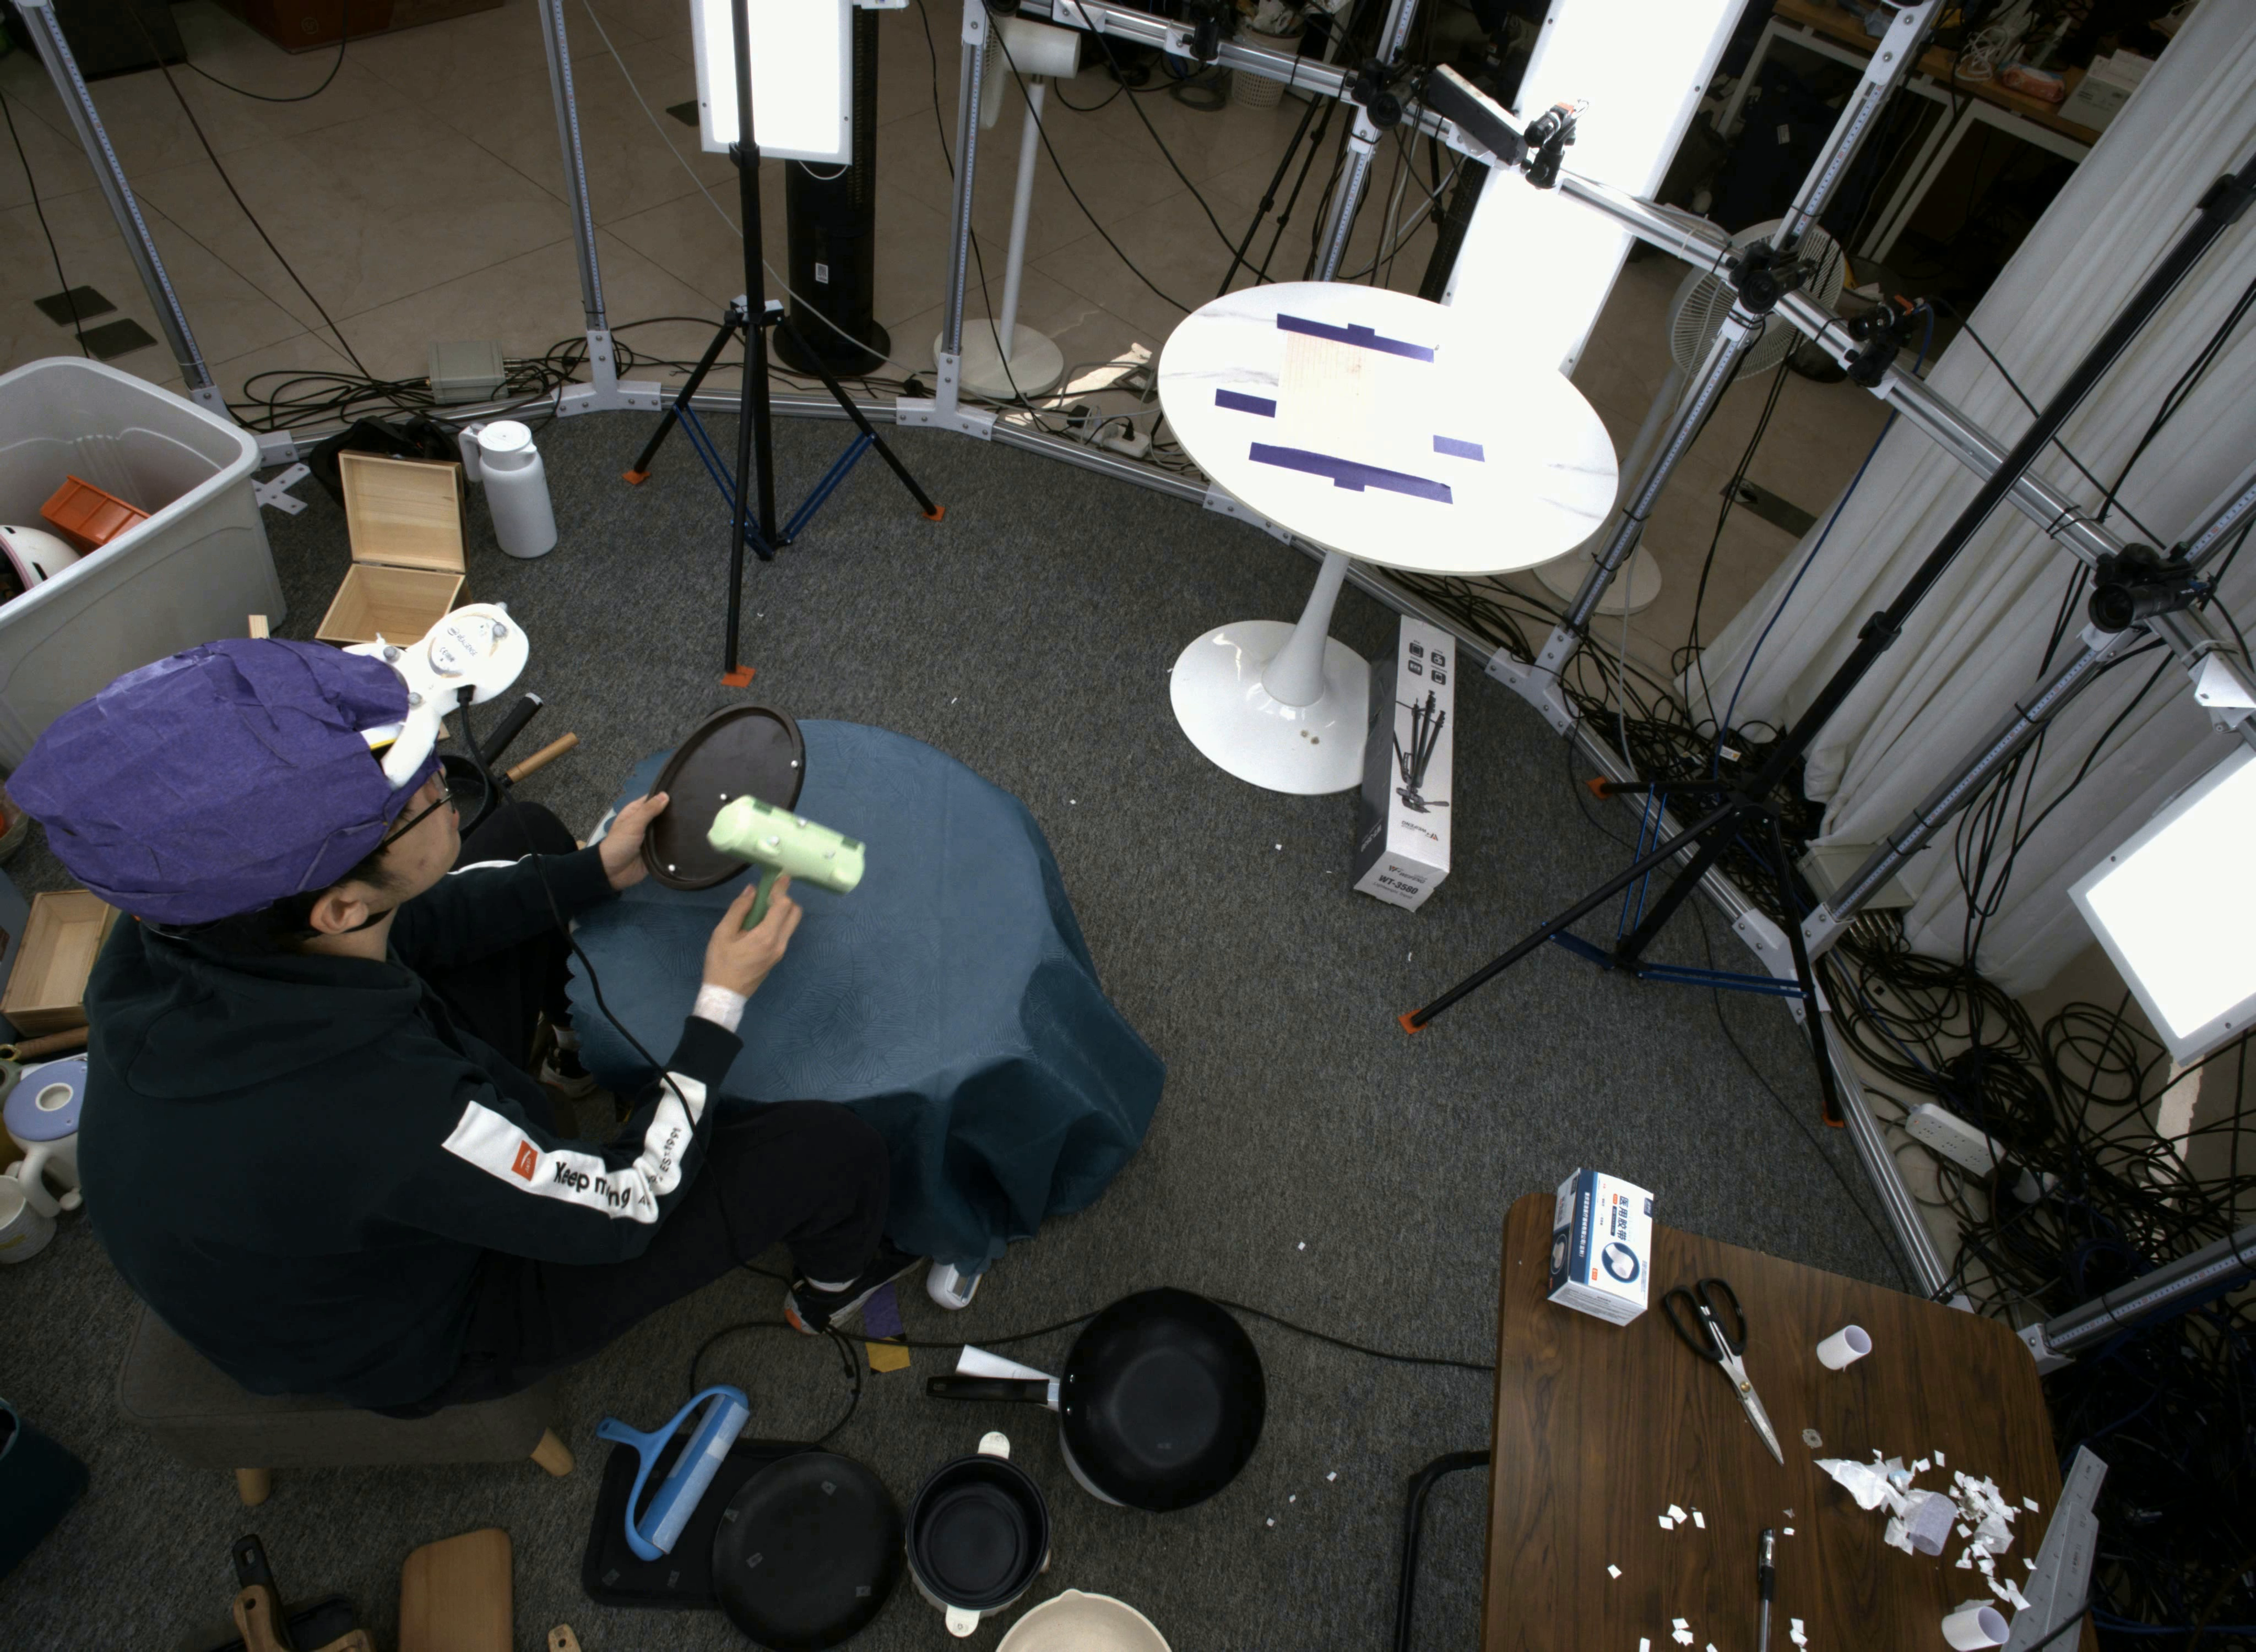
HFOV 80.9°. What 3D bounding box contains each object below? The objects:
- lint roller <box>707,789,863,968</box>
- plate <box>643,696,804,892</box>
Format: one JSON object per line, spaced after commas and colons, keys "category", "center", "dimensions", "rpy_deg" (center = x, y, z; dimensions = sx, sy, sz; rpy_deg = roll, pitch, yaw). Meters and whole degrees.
{"category": "lint roller", "center": [-0.390, 0.074, 1.441], "dimensions": [0.079, 0.205, 0.184], "rpy_deg": [13, 80, 35]}
{"category": "plate", "center": [-0.482, -0.040, 1.534], "dimensions": [0.249, 0.030, 0.252], "rpy_deg": [-12, 60, 23]}
